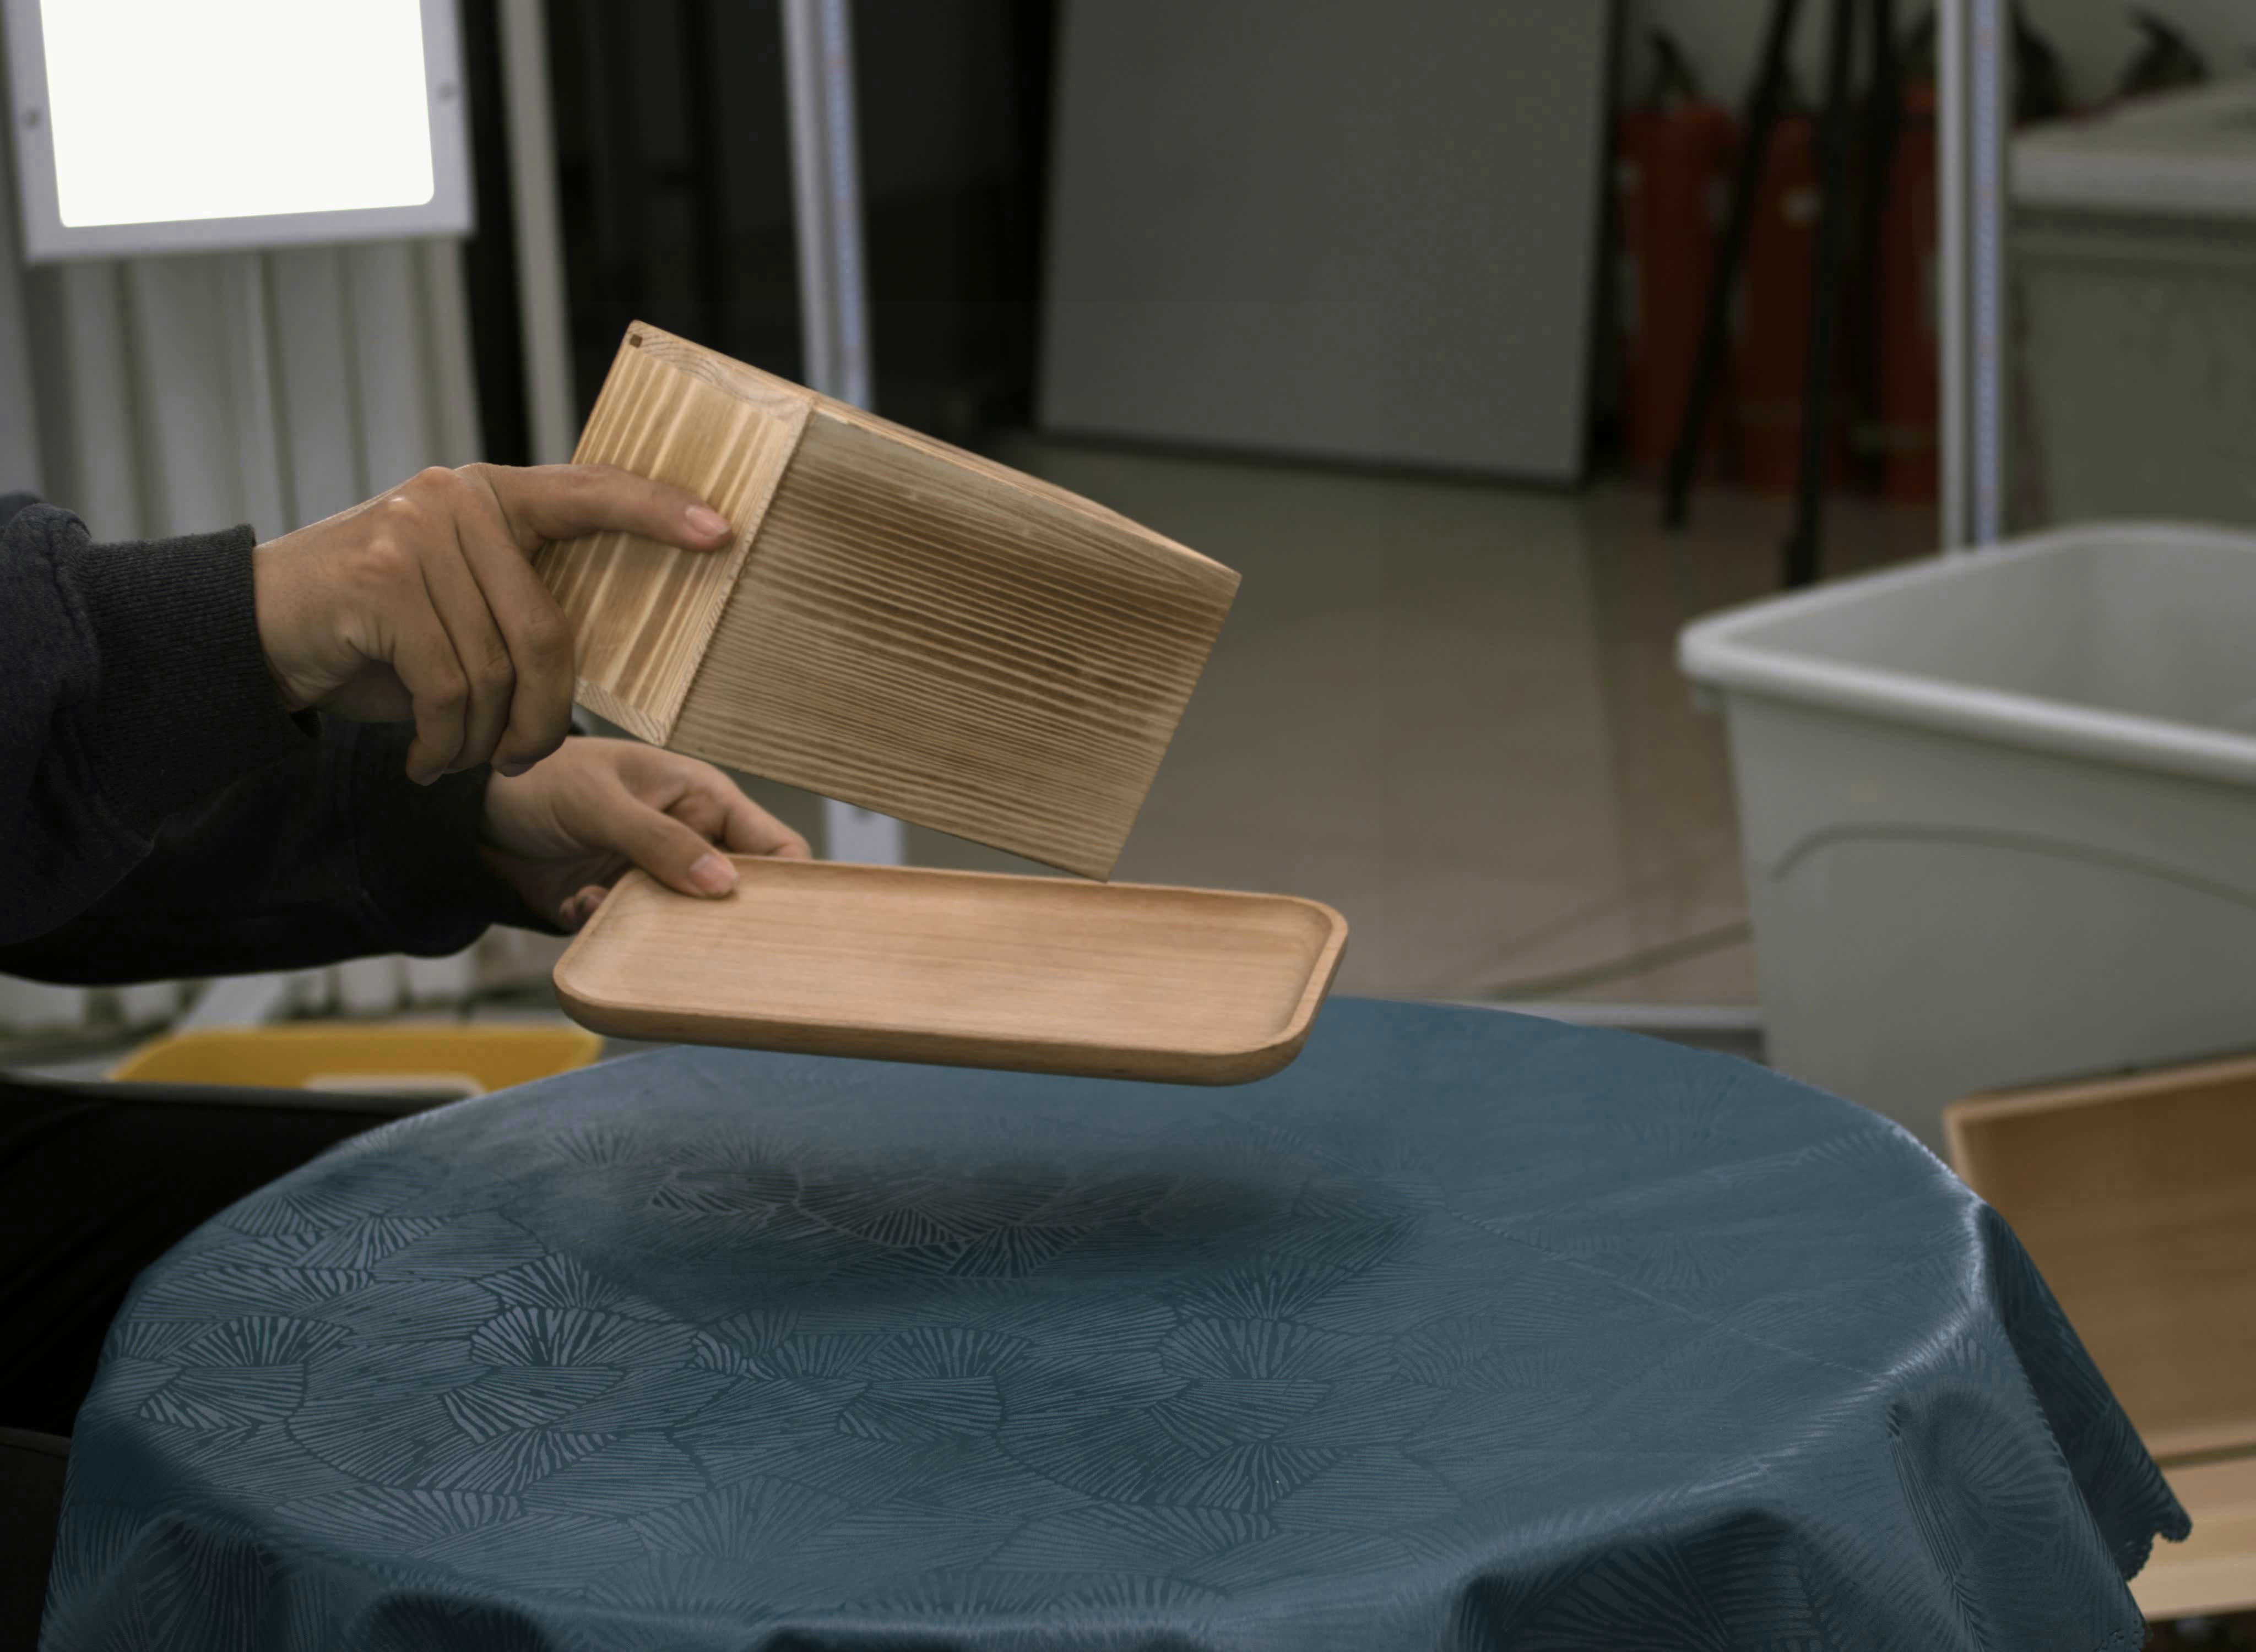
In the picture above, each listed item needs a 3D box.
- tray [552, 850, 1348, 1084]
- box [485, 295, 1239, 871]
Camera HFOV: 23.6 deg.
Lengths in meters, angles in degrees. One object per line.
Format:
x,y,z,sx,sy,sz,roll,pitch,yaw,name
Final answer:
-0.057,0.045,1.753,0.249,0.023,0.130,3,20,14,tray
-0.074,-0.068,1.591,0.081,0.108,0.207,27,6,39,box
